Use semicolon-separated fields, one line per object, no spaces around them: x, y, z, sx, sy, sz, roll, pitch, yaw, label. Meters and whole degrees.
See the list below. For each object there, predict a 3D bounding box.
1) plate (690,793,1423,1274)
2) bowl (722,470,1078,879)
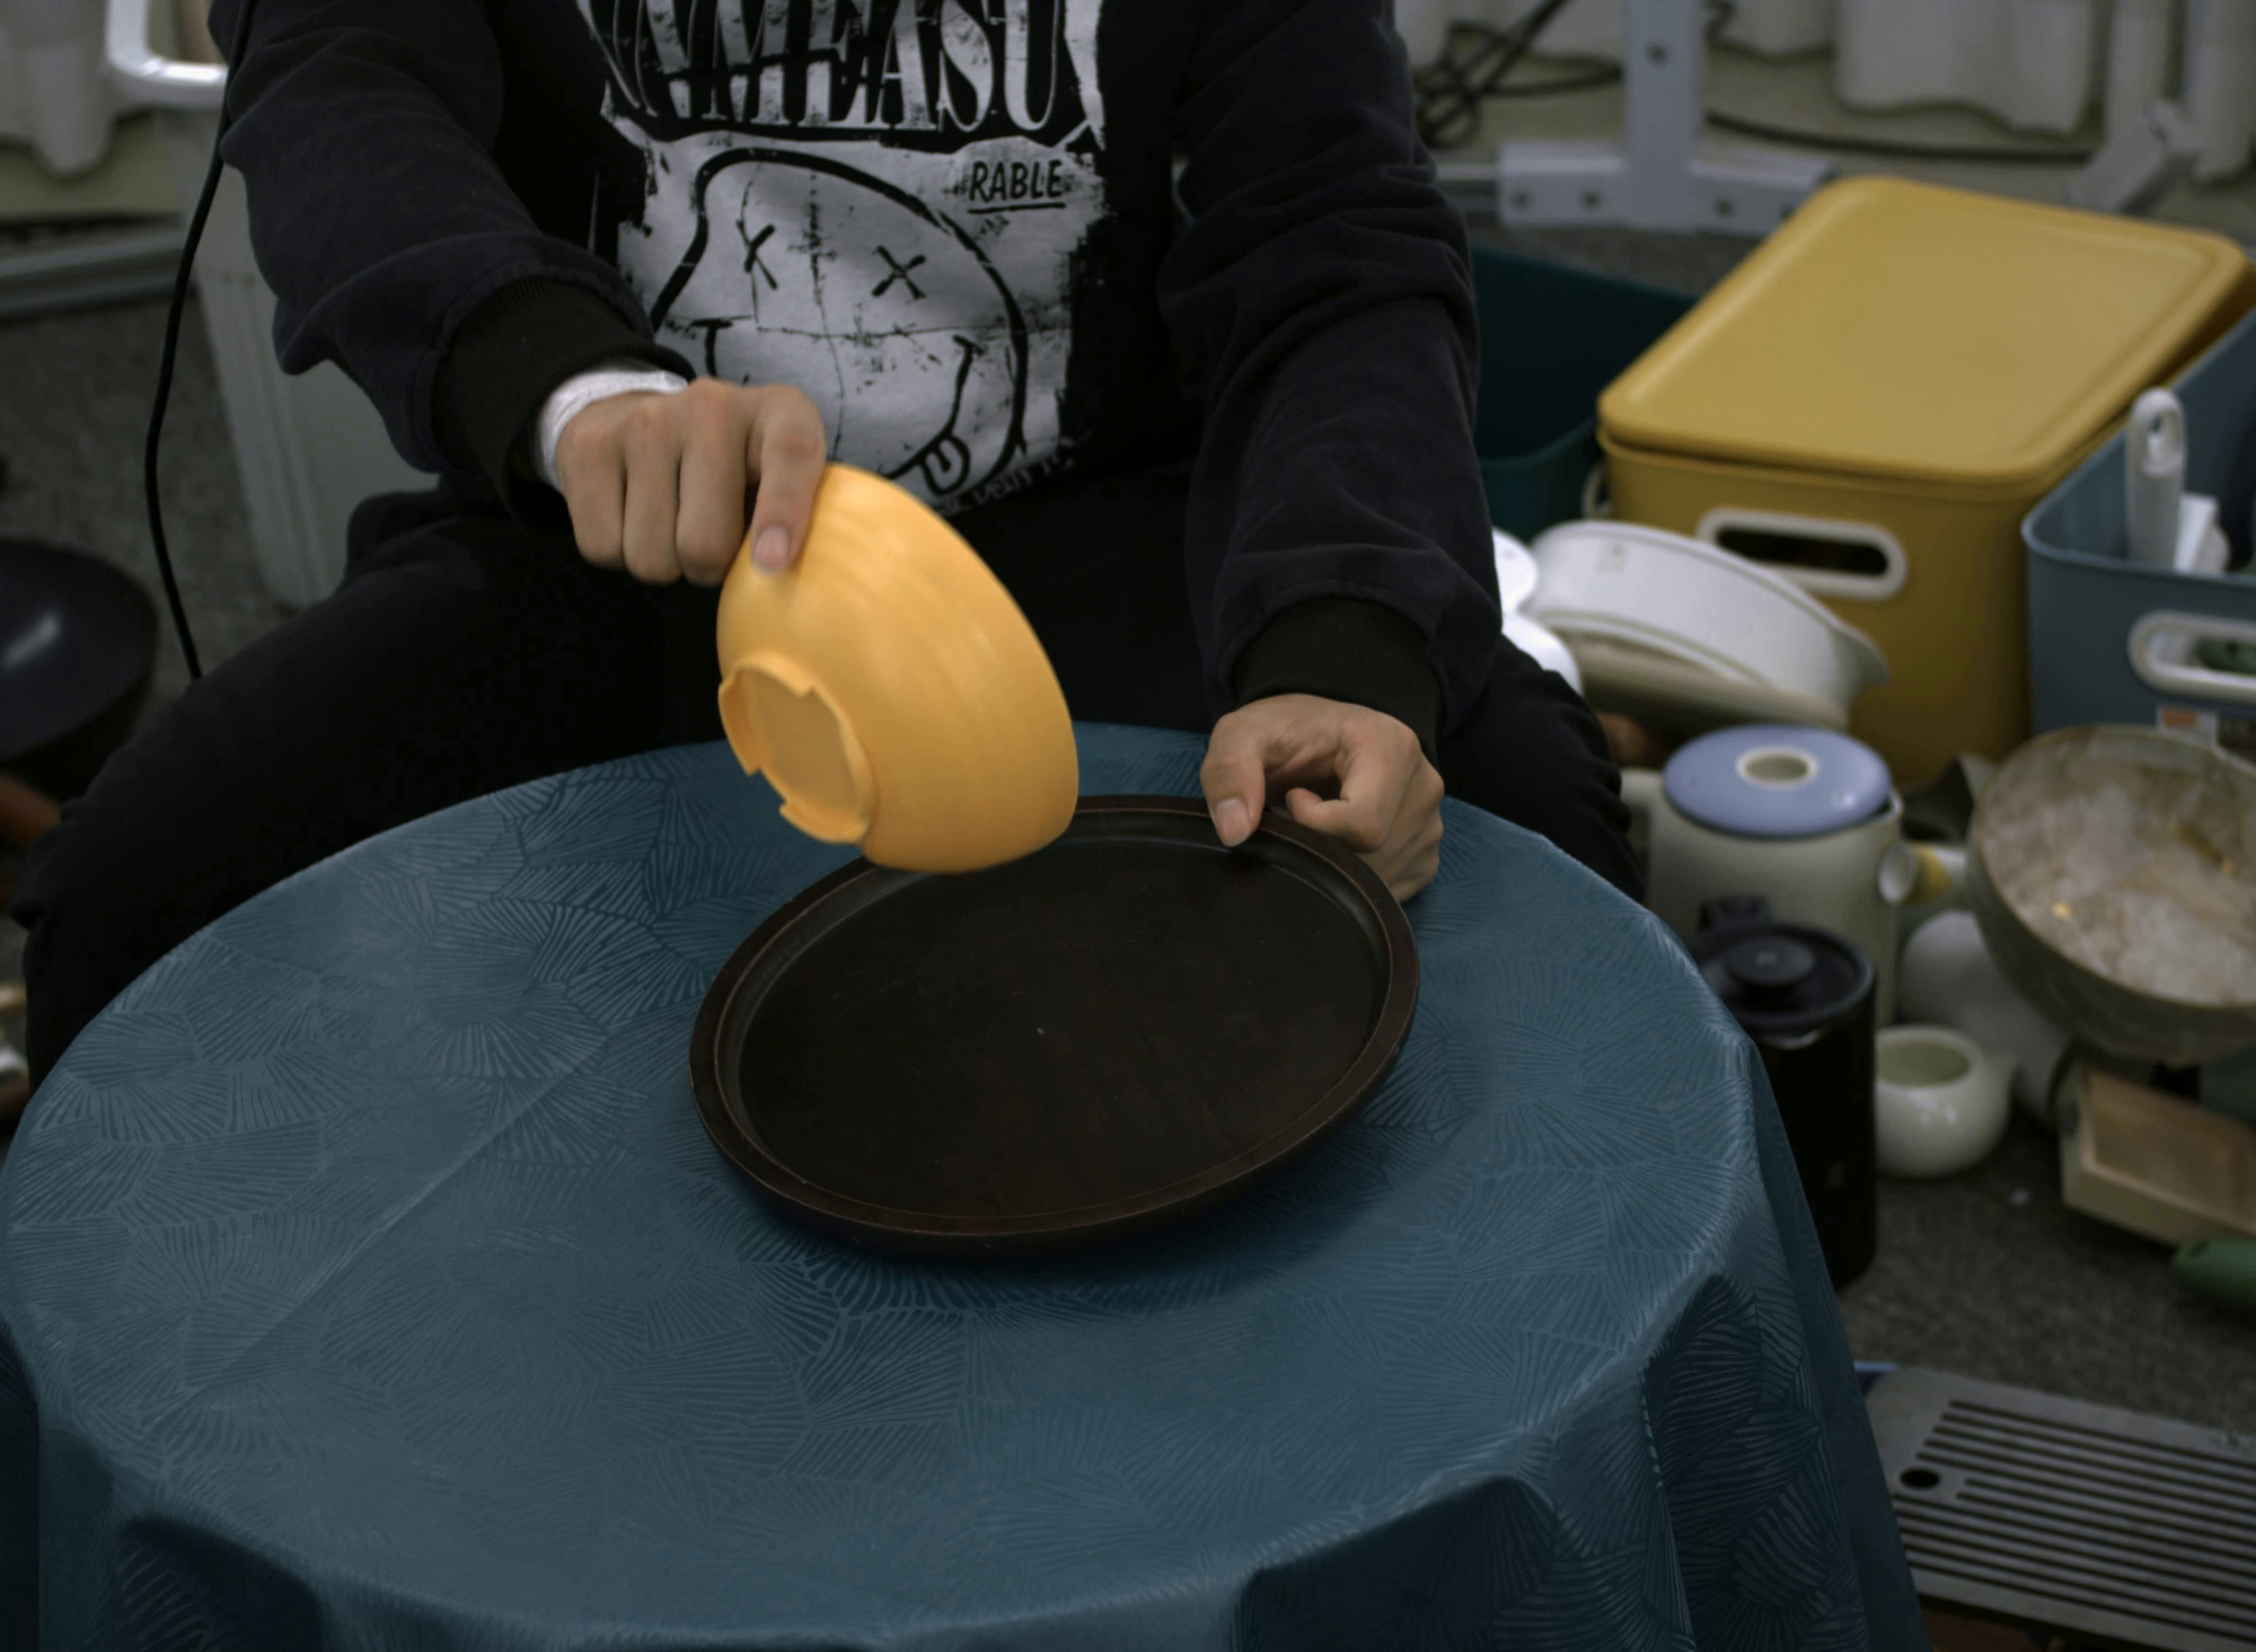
-0.024;0.069;1.909;0.253;0.029;0.259;-8;32;6;plate
-0.086;-0.036;1.787;0.061;0.143;0.145;-35;40;-29;bowl
